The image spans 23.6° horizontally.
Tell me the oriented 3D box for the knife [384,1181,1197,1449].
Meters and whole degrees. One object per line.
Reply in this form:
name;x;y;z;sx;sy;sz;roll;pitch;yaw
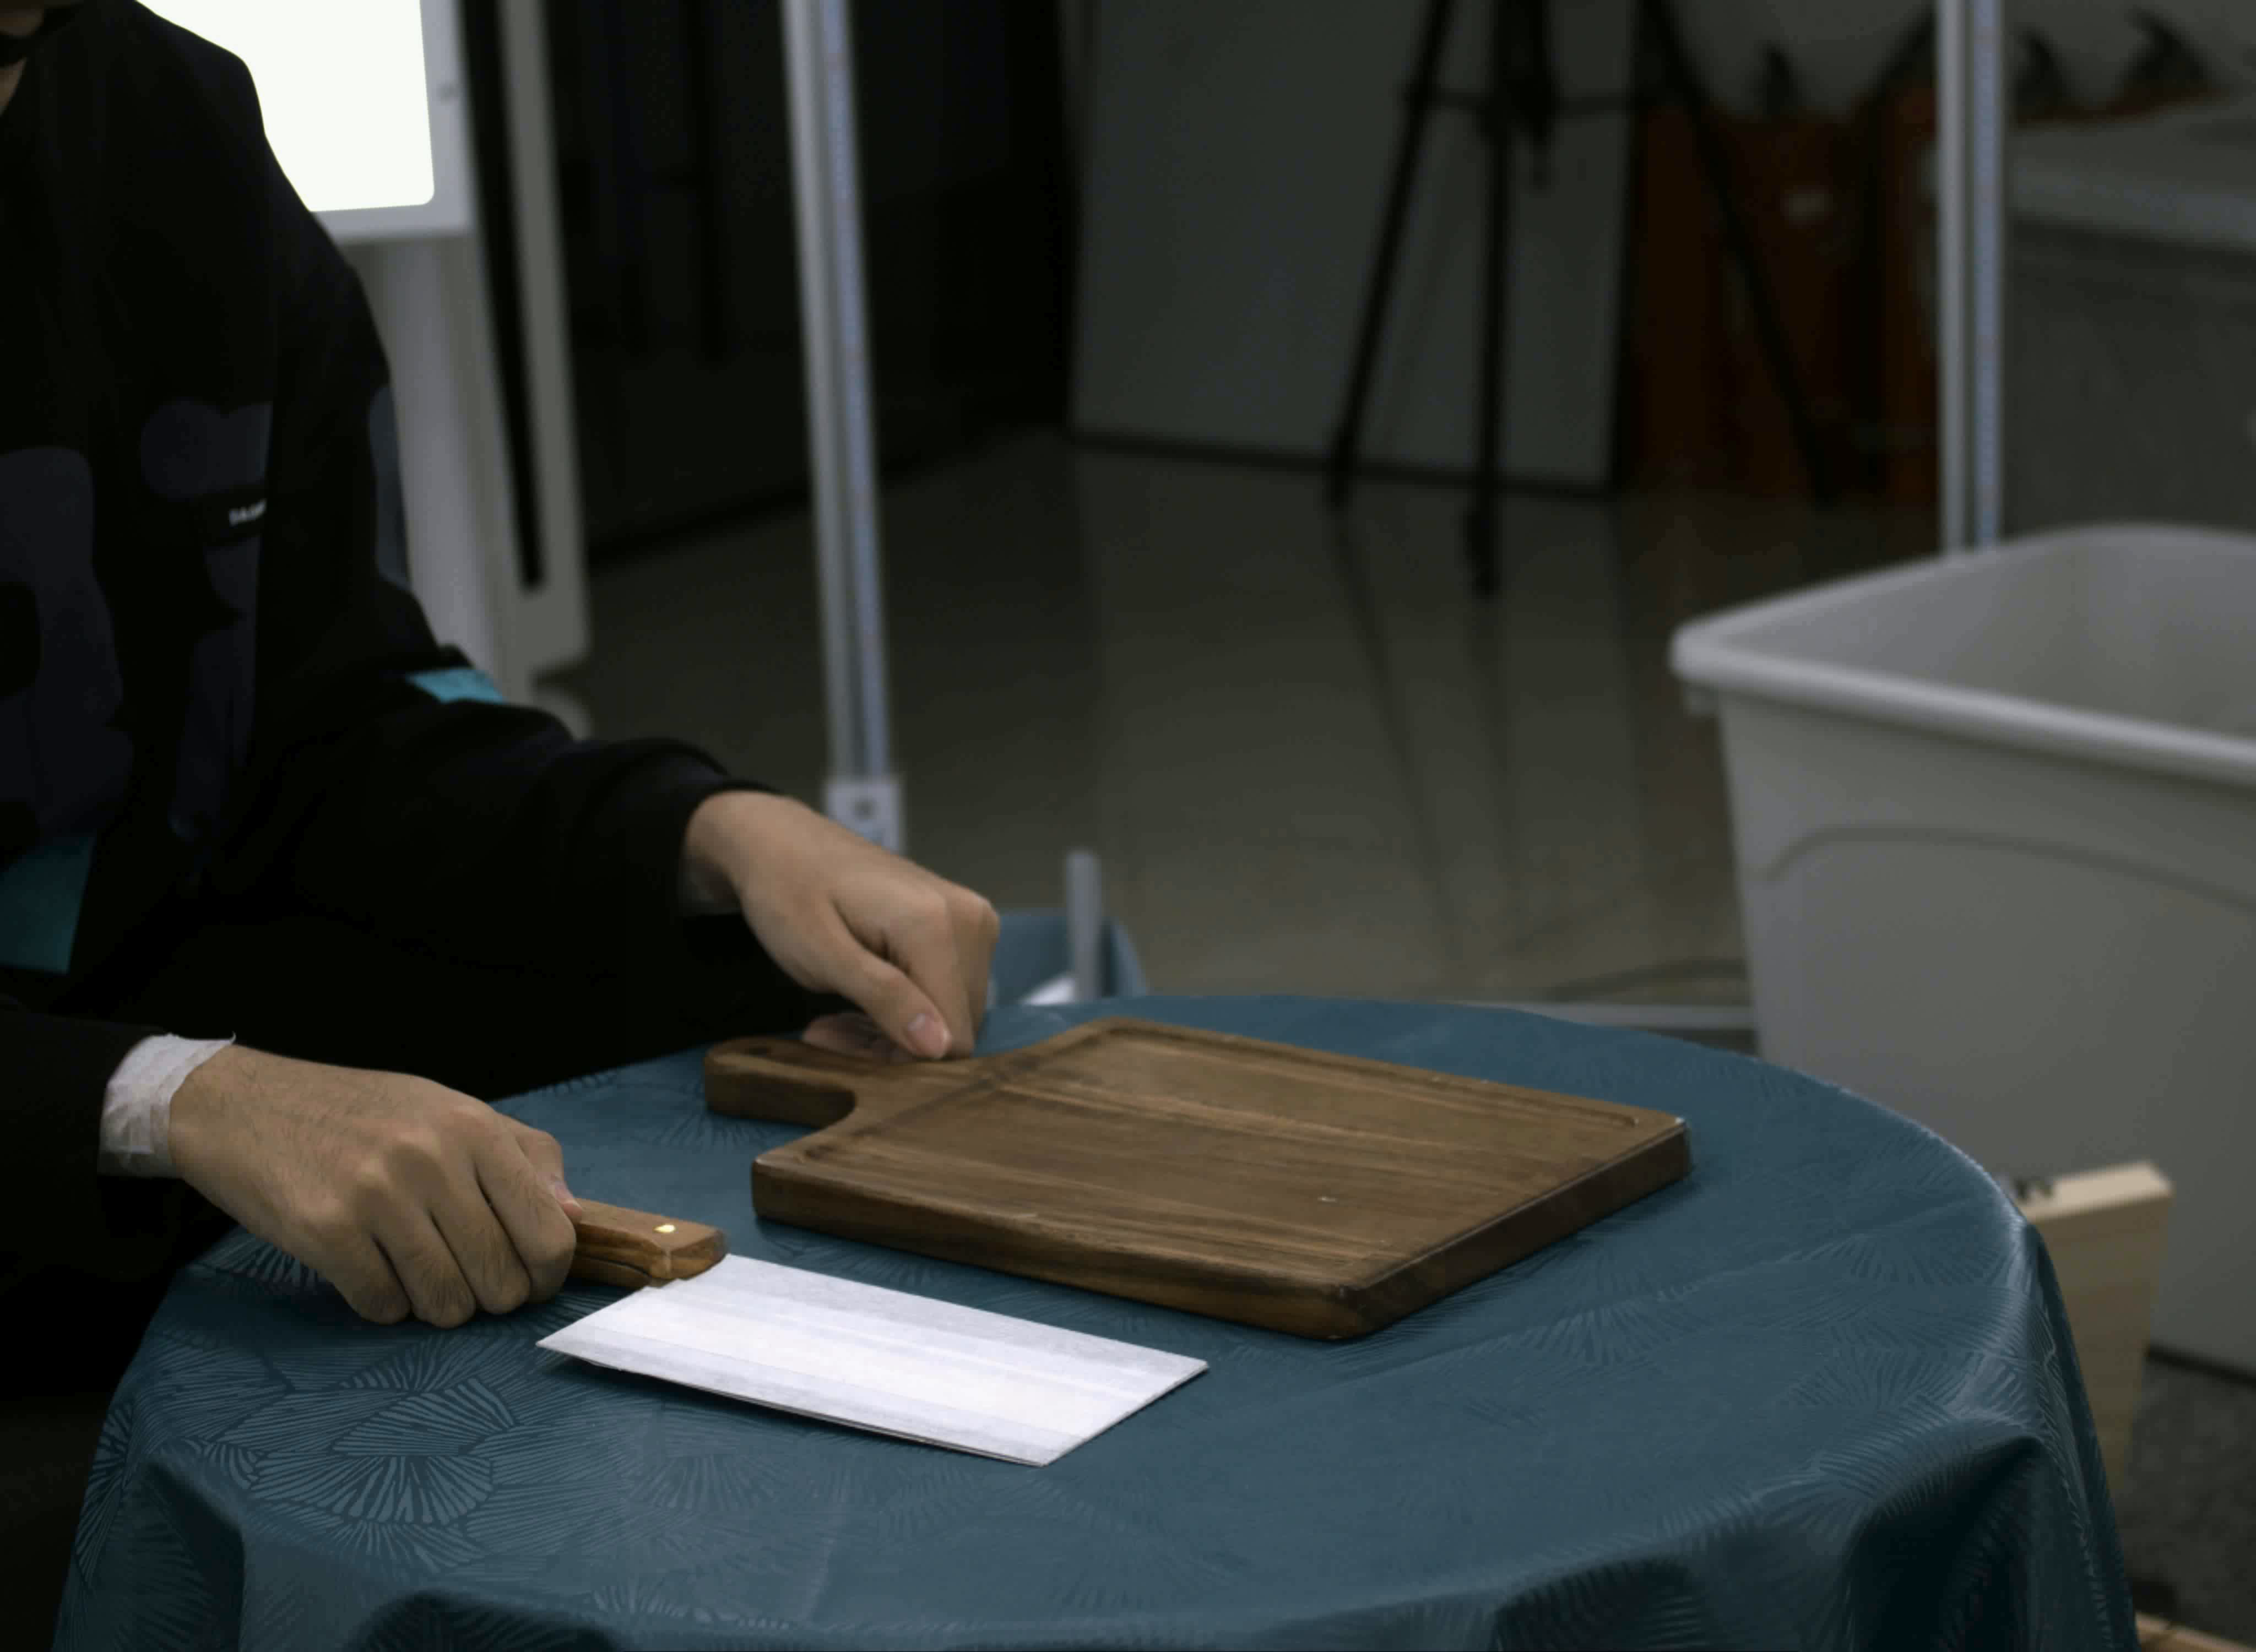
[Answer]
knife;-0.123;0.152;1.652;0.307;0.021;0.091;9;20;35

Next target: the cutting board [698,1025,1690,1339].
cutting board;-0.007;0.107;1.788;0.355;0.023;0.197;7;18;39
